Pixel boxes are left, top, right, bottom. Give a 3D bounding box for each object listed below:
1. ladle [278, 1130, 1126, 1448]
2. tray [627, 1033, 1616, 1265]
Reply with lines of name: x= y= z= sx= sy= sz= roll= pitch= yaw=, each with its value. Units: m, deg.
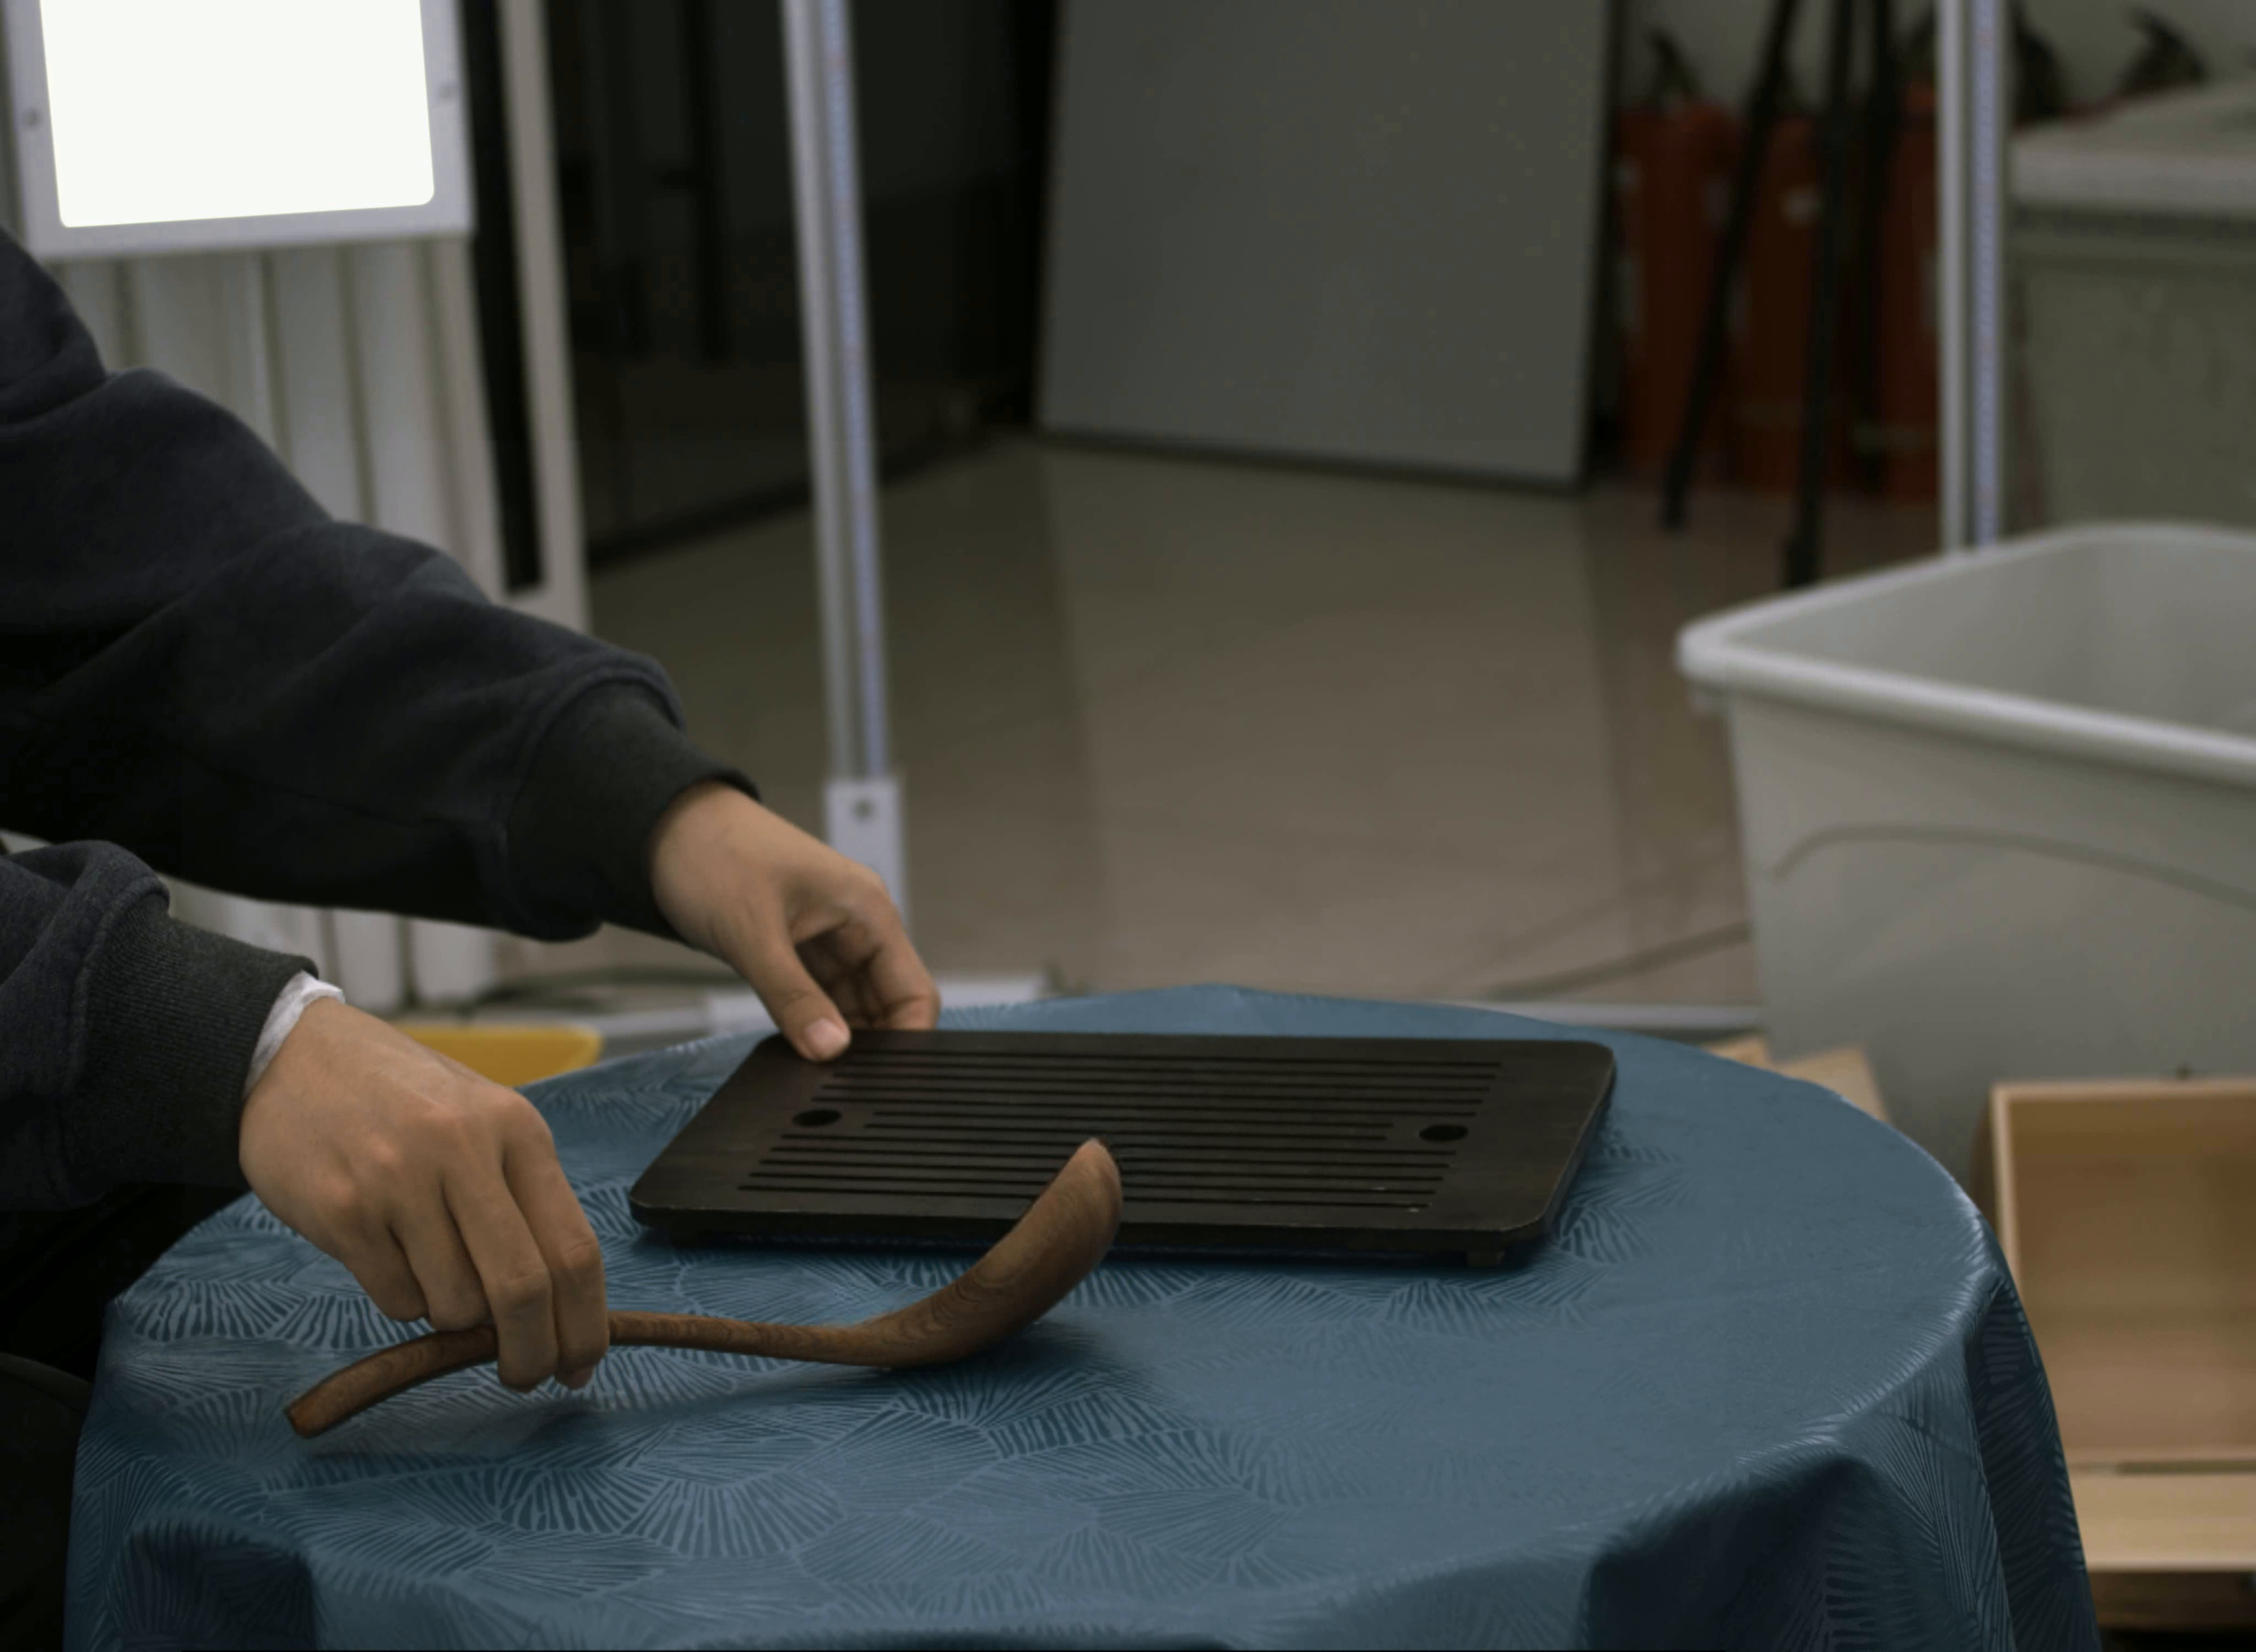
ladle: x=-0.125 y=0.137 z=1.602 sx=0.255 sy=0.066 sz=0.077 roll=-6 pitch=-15 yaw=-10
tray: x=0.001 y=0.105 z=1.778 sx=0.305 sy=0.019 sz=0.169 roll=0 pitch=17 yaw=17
